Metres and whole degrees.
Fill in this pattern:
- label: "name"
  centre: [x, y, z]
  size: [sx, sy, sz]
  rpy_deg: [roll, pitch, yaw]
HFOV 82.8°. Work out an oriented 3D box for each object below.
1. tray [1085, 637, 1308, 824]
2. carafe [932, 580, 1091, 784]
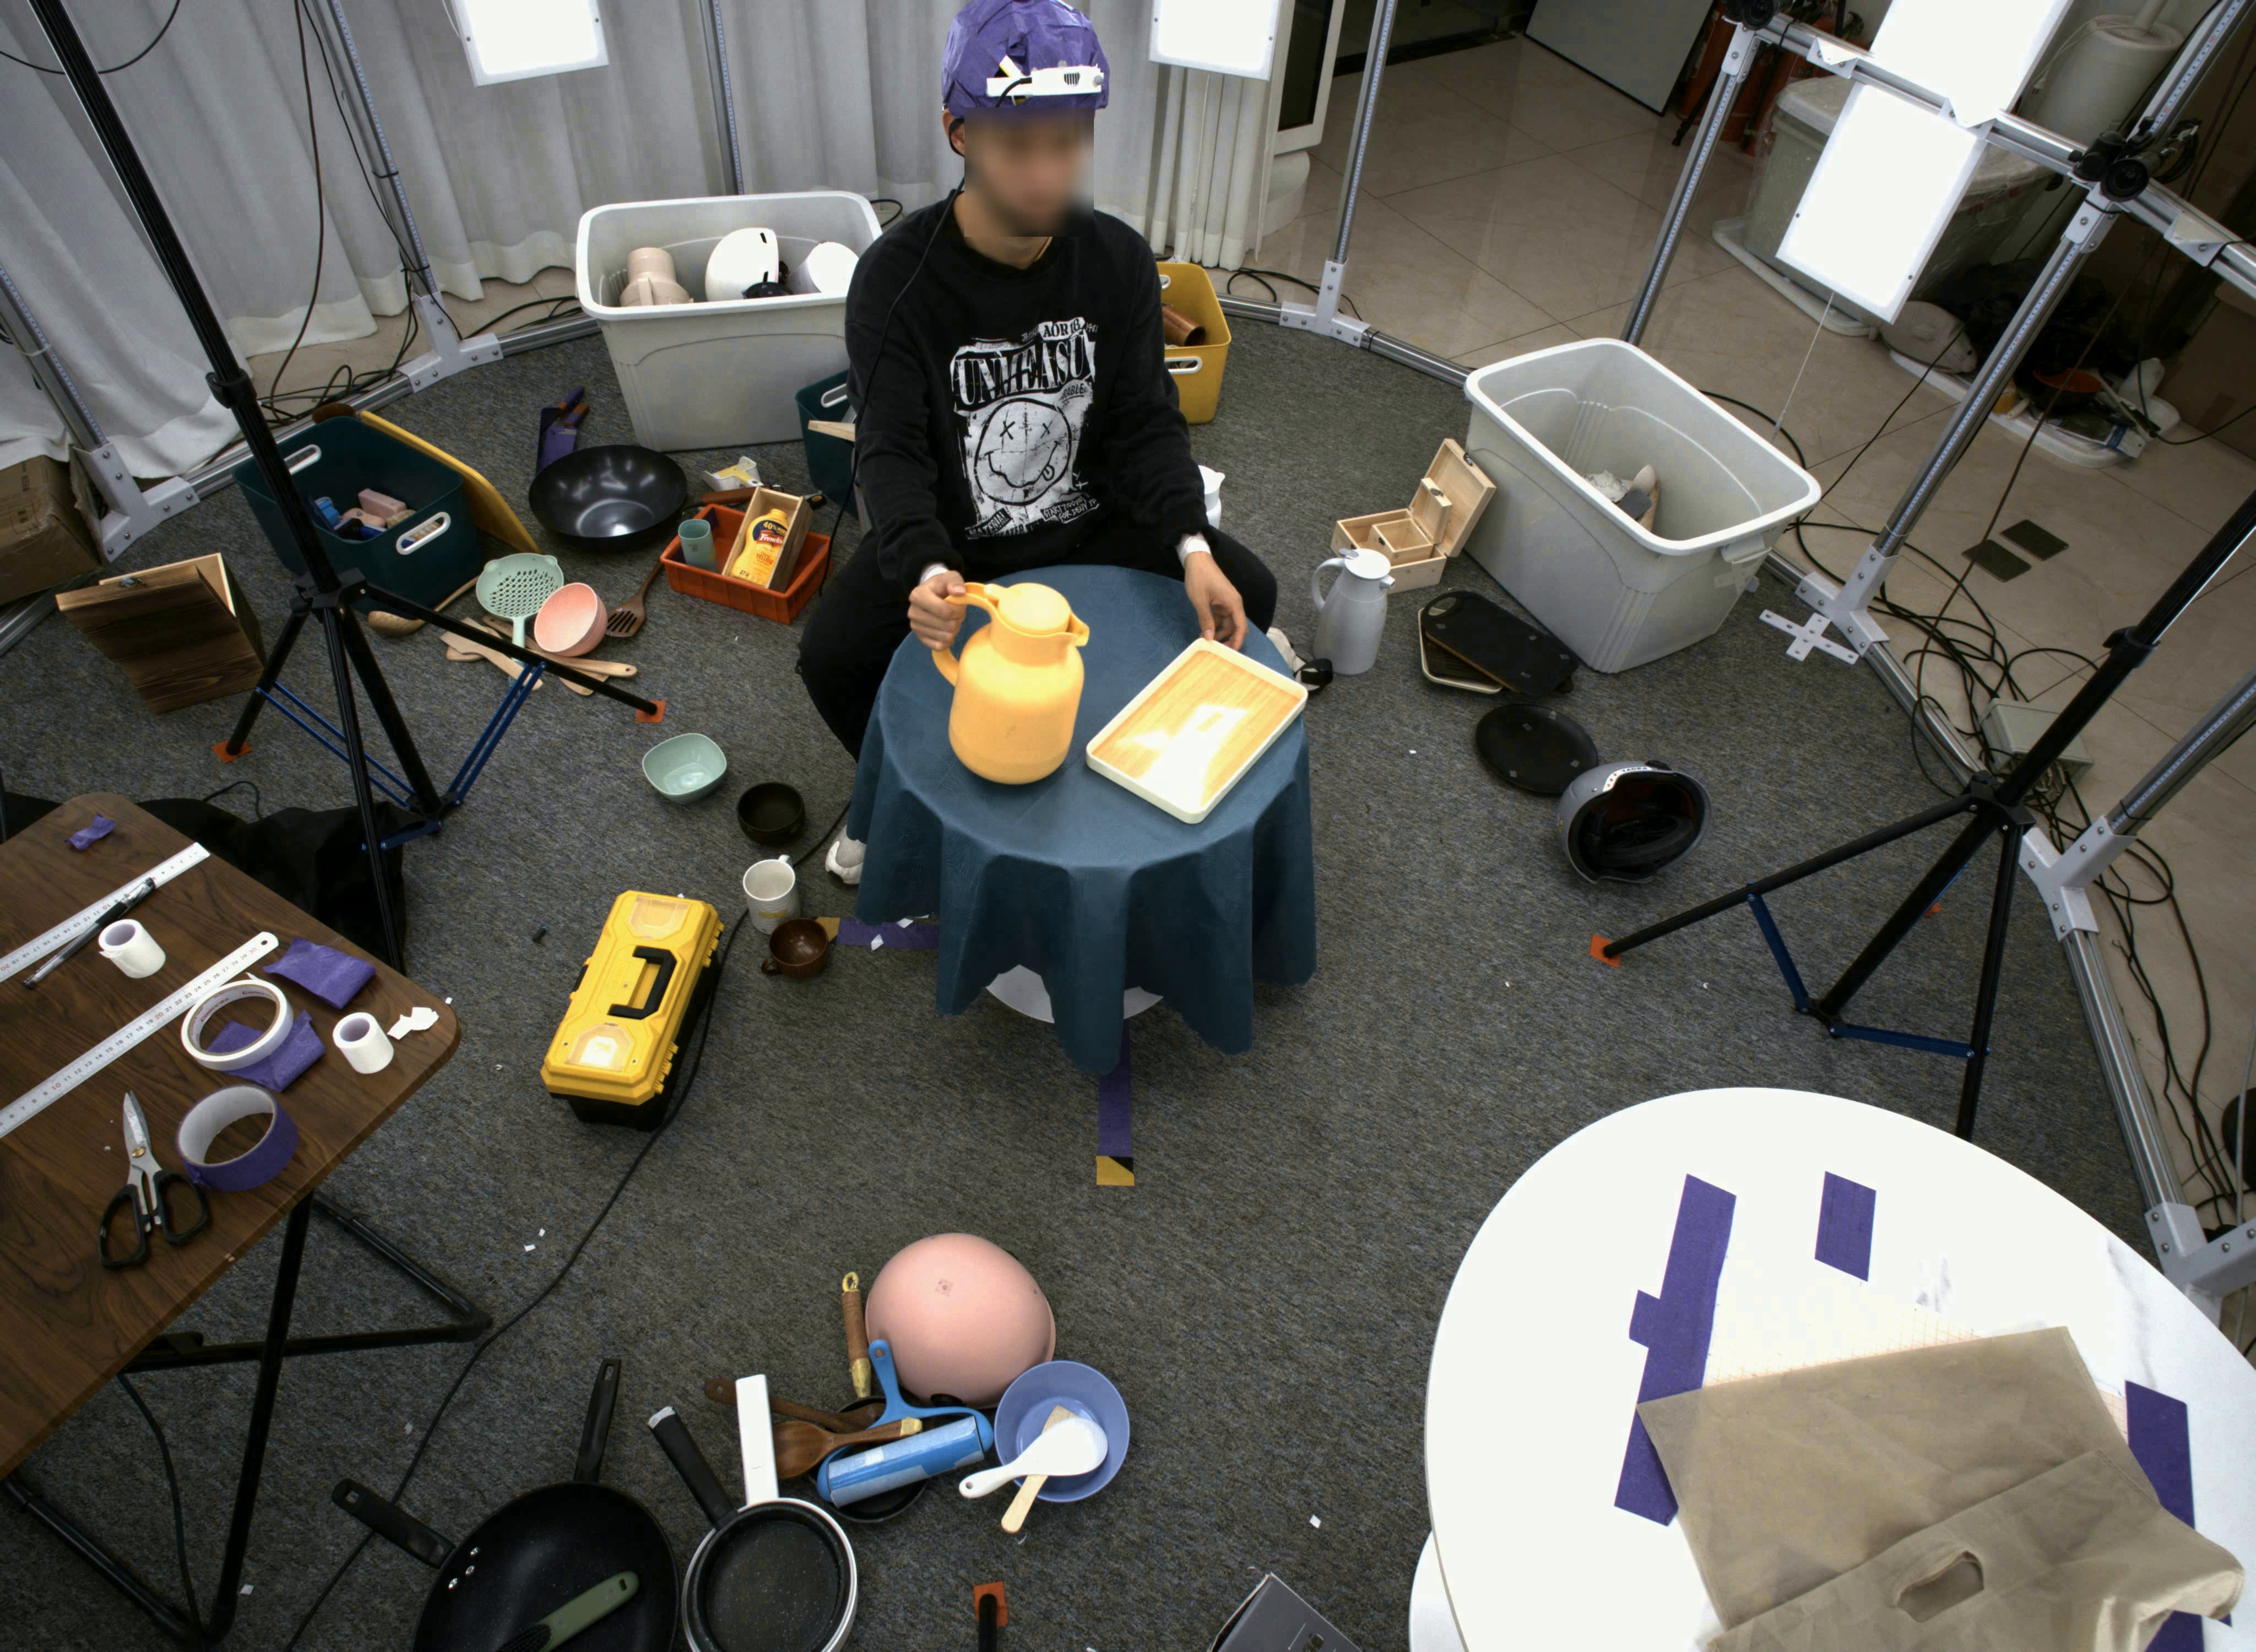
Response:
- label: "tray"
  centre: [0.098, -0.139, 1.779]
  size: [0.193, 0.027, 0.304]
  rpy_deg: [30, 54, 21]
- label: "carafe"
  centre: [-0.156, -0.195, 1.645]
  size: [0.203, 0.255, 0.166]
  rpy_deg: [25, 43, 7]
